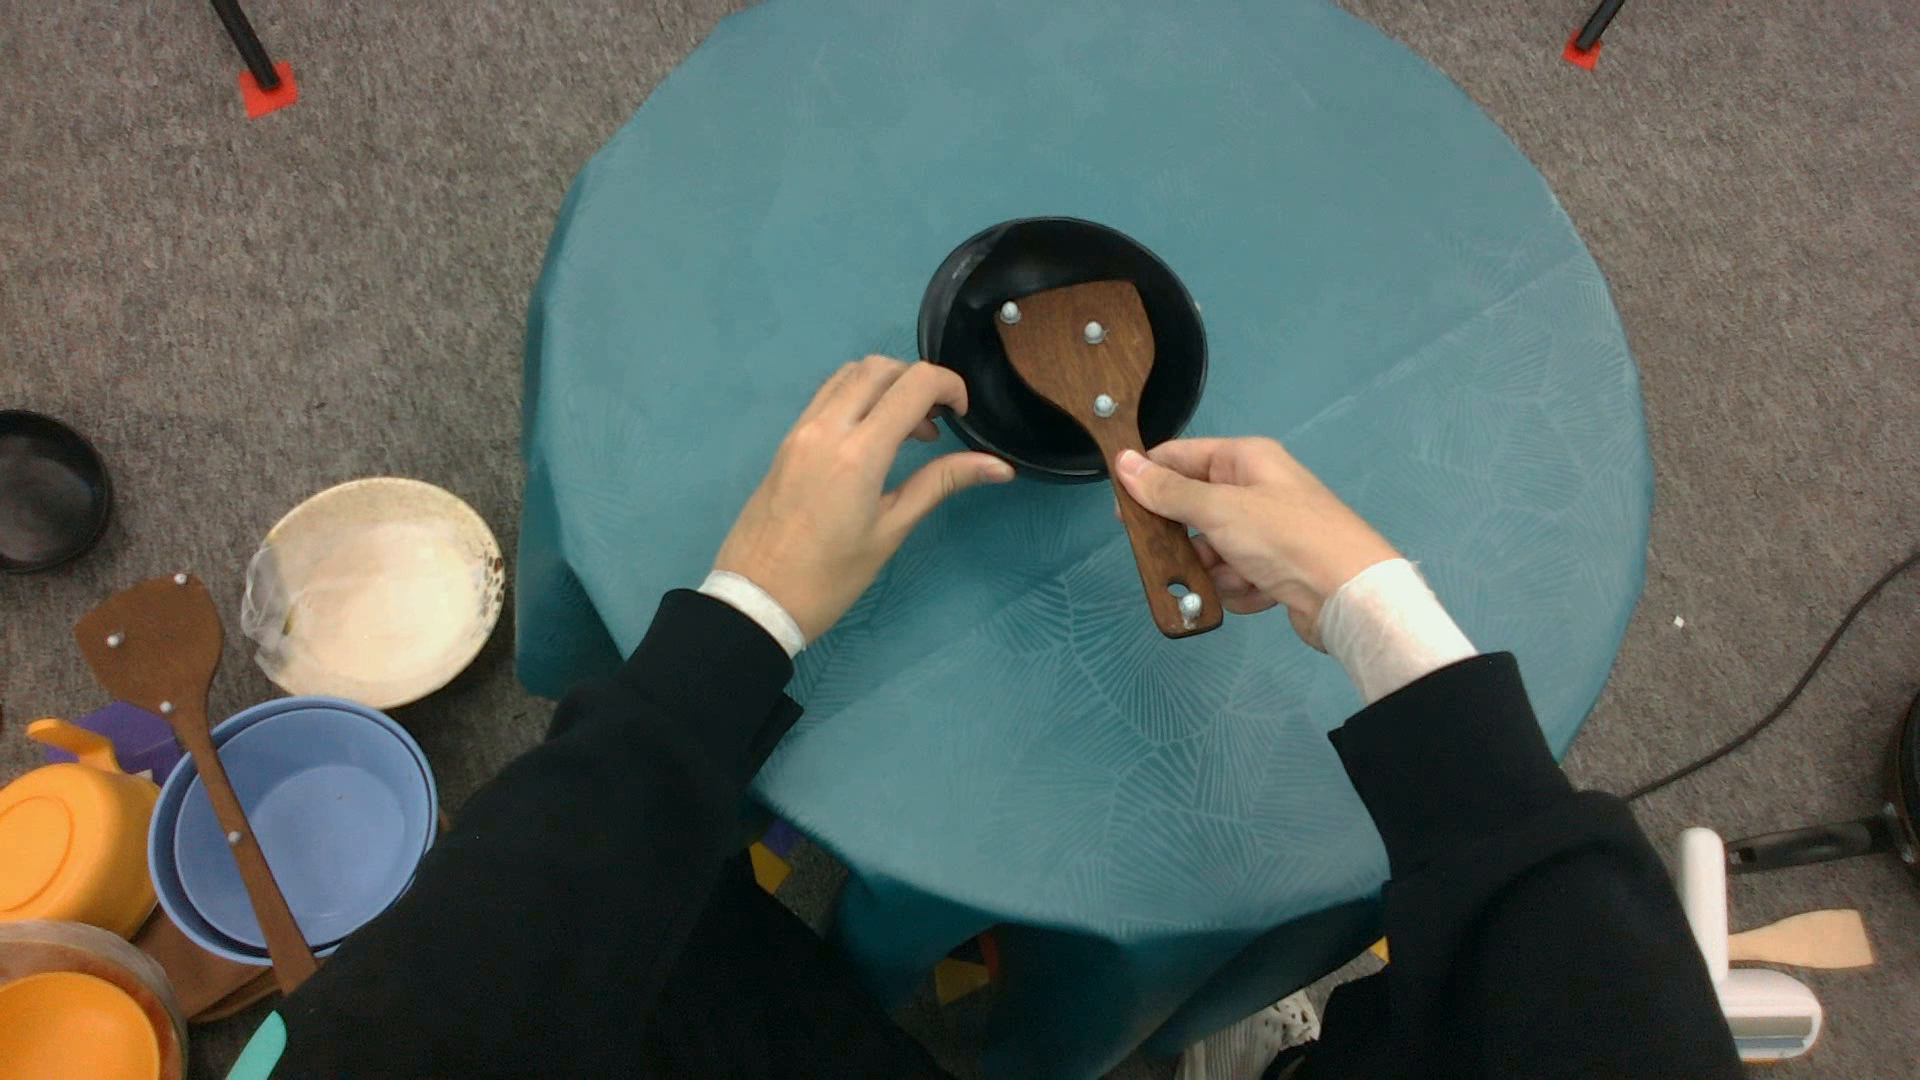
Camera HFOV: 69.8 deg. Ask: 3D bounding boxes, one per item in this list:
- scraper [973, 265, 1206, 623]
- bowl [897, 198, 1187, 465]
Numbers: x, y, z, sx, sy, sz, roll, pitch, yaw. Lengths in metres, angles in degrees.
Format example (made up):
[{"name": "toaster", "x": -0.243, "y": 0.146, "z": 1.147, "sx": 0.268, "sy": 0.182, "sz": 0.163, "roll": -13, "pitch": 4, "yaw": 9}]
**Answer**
[{"name": "scraper", "x": 0.064, "y": -0.049, "z": 0.618, "sx": 0.076, "sy": 0.011, "sz": 0.212, "roll": -12, "pitch": 52, "yaw": -6}, {"name": "bowl", "x": 0.035, "y": -0.092, "z": 0.659, "sx": 0.140, "sy": 0.049, "sz": 0.140, "roll": 5, "pitch": 66, "yaw": -11}]
